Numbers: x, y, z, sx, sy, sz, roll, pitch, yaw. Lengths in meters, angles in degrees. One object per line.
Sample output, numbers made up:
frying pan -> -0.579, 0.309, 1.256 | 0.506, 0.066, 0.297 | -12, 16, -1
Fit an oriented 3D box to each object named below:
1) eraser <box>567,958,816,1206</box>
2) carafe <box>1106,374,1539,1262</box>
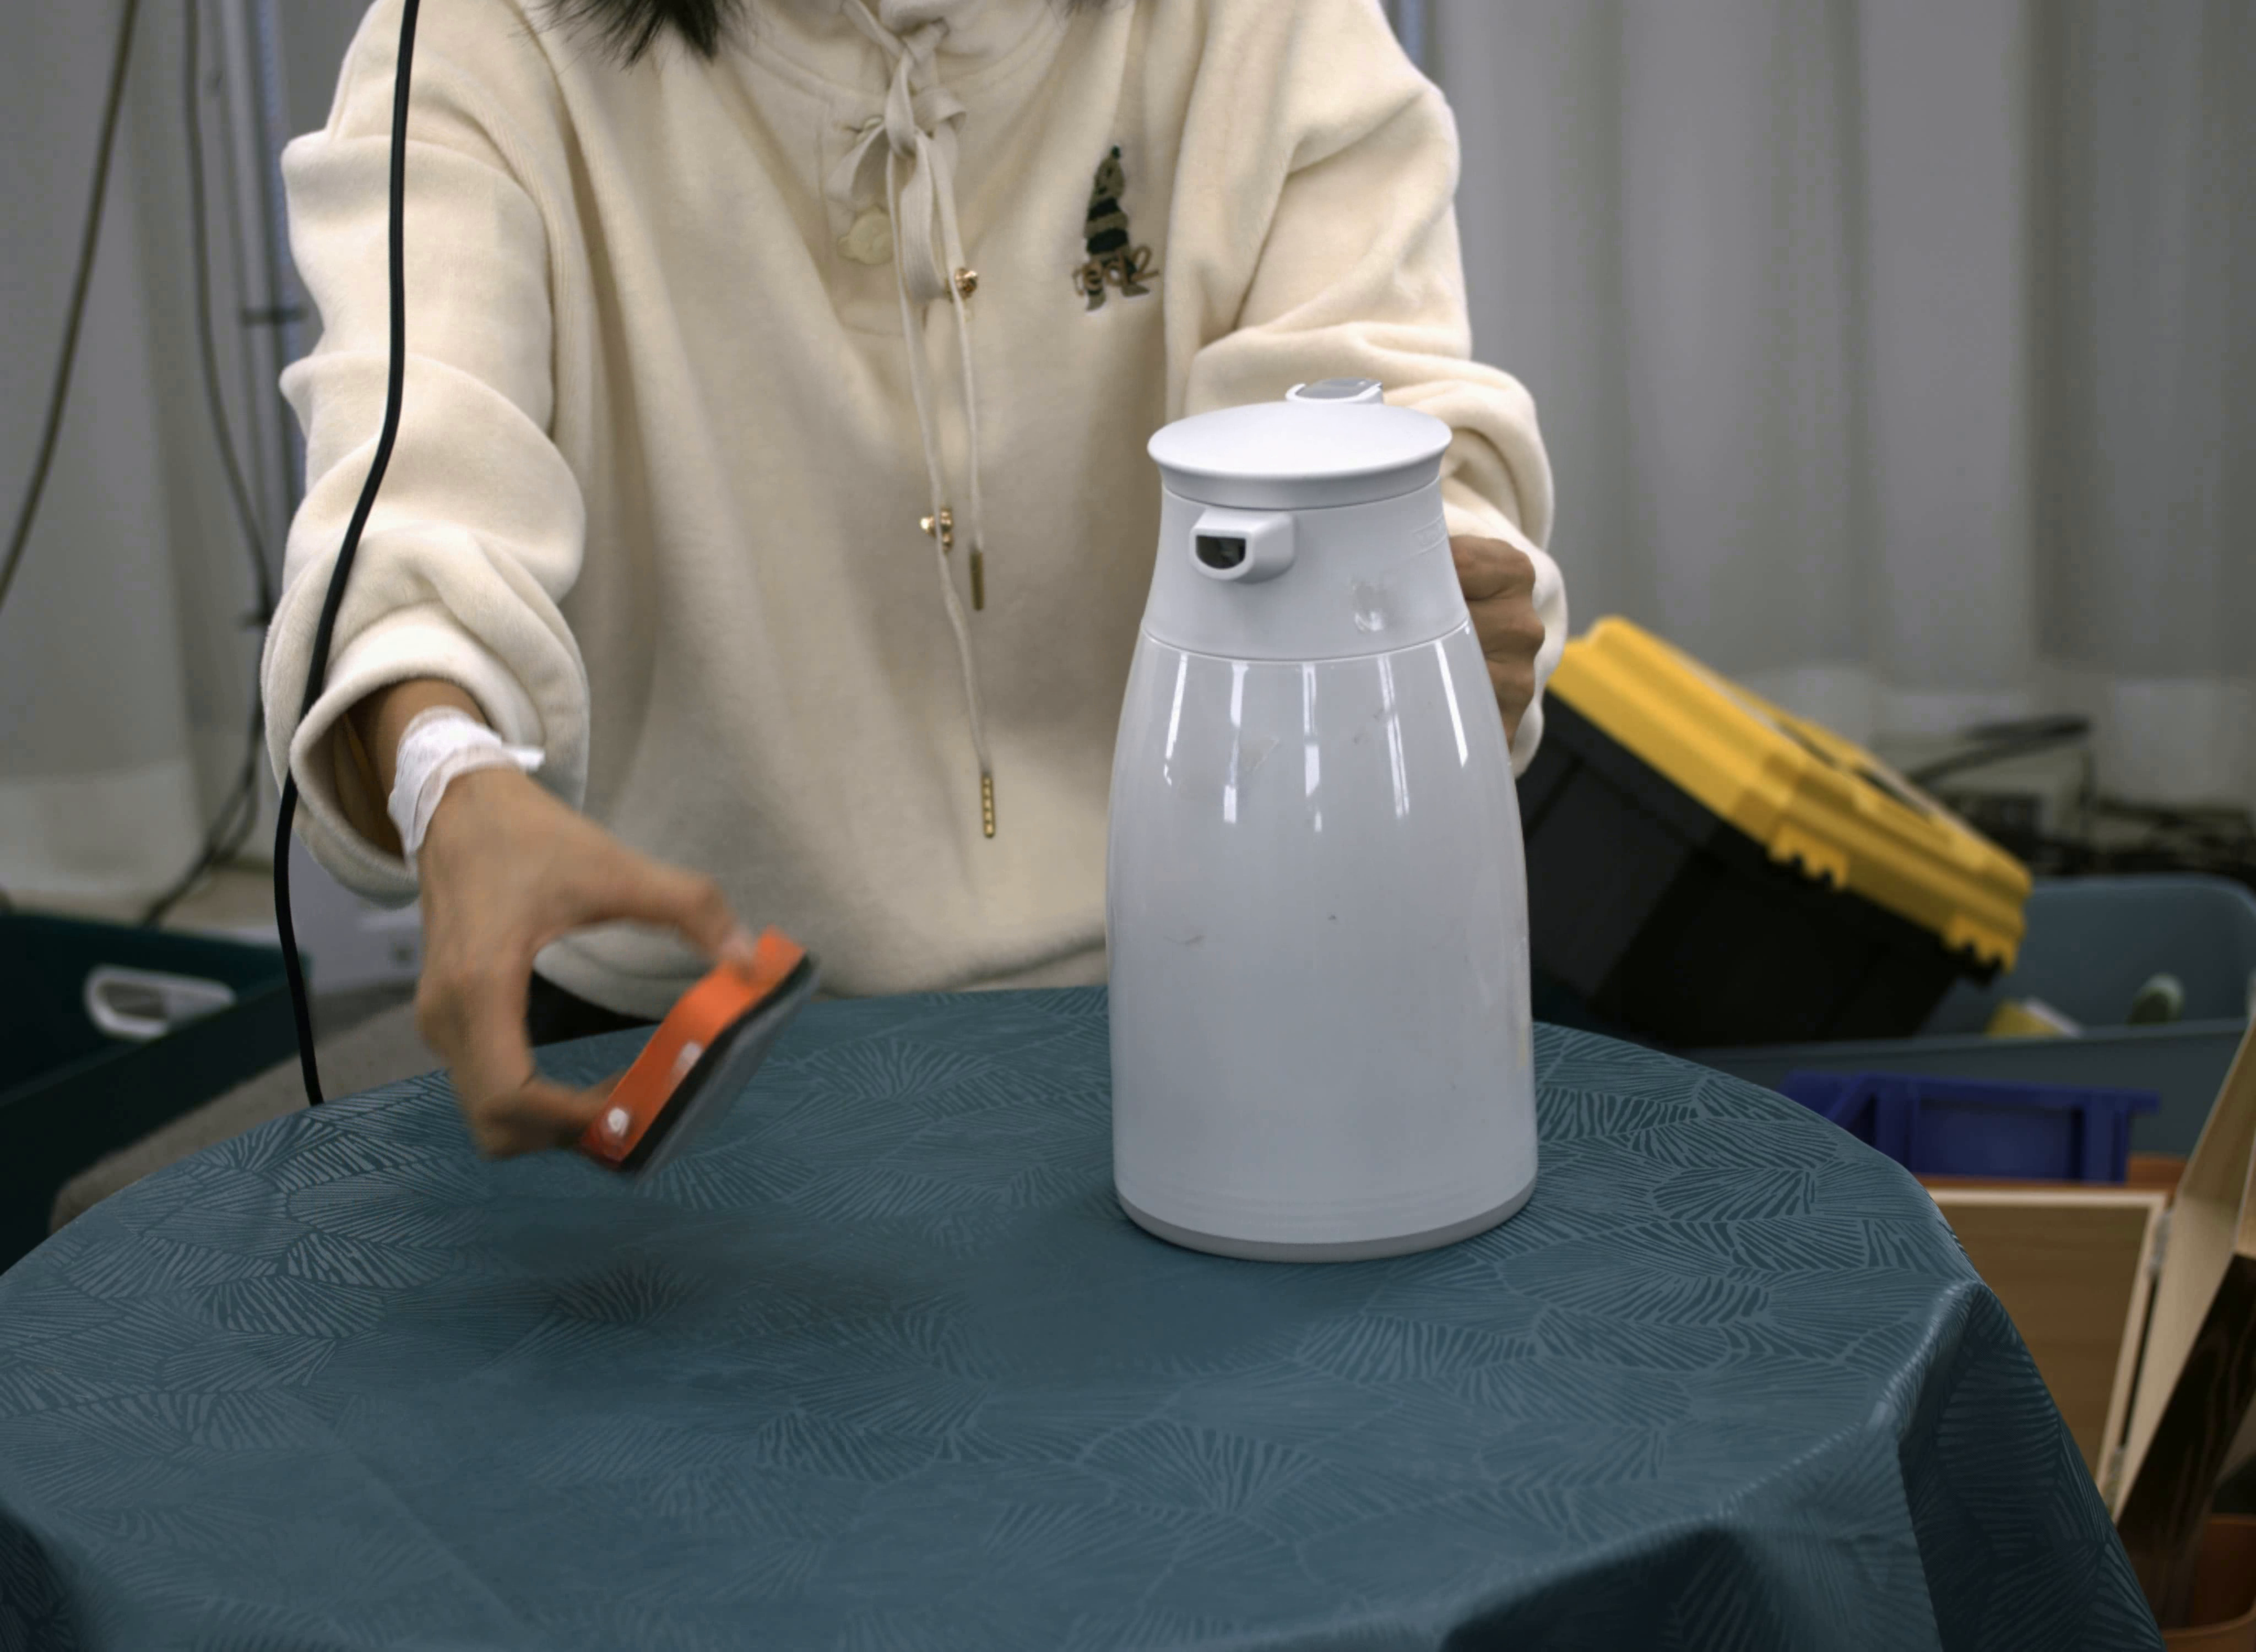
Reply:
eraser -> -0.128, 0.075, 1.623 | 0.023, 0.059, 0.108 | 40, 14, 3
carafe -> 0.063, -0.011, 1.685 | 0.132, 0.247, 0.168 | 4, 16, 23
